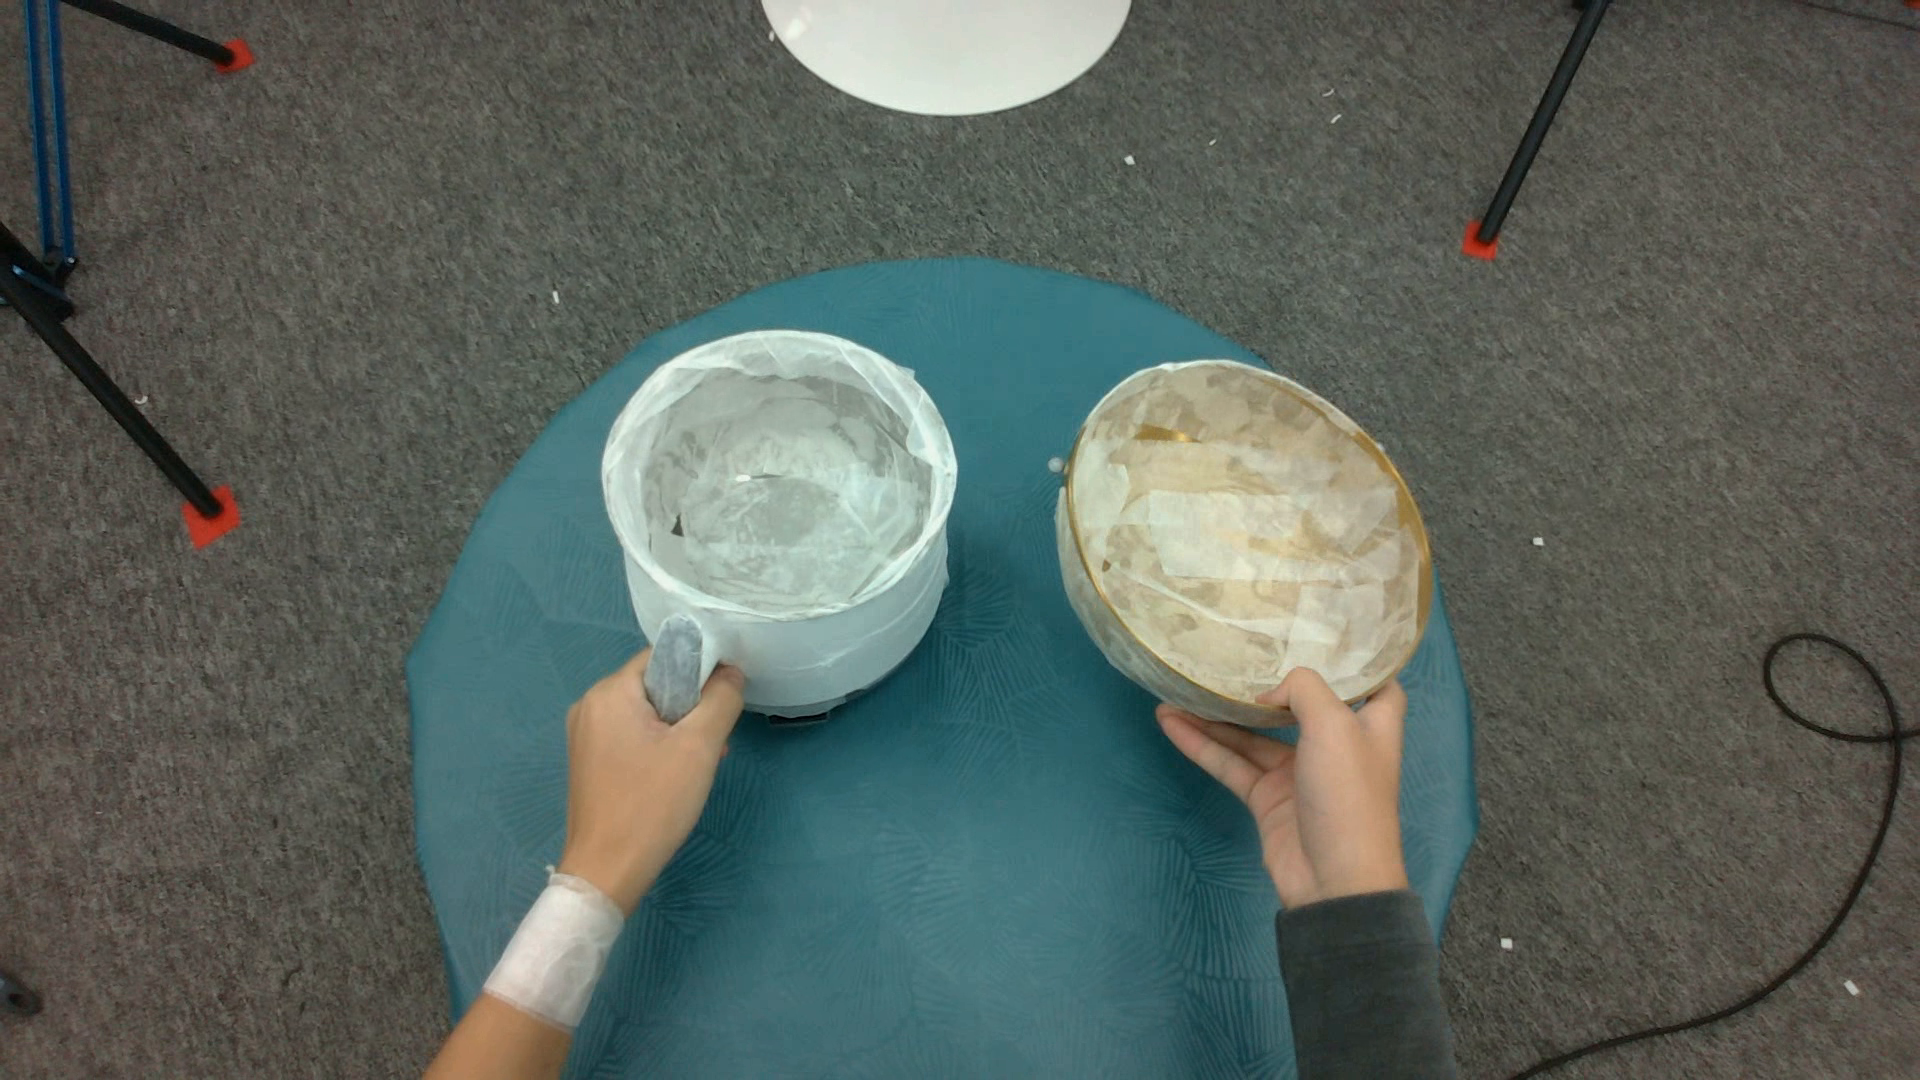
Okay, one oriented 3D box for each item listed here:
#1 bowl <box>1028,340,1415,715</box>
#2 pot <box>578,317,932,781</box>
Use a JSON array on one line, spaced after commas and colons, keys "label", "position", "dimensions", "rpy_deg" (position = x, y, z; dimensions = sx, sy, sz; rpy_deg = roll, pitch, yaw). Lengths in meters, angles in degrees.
[{"label": "bowl", "position": [0.123, 0.006, 0.725], "dimensions": [0.215, 0.094, 0.215], "rpy_deg": [9, 61, -16]}, {"label": "pot", "position": [-0.117, 0.010, 0.733], "dimensions": [0.178, 0.136, 0.235], "rpy_deg": [21, 59, 7]}]
